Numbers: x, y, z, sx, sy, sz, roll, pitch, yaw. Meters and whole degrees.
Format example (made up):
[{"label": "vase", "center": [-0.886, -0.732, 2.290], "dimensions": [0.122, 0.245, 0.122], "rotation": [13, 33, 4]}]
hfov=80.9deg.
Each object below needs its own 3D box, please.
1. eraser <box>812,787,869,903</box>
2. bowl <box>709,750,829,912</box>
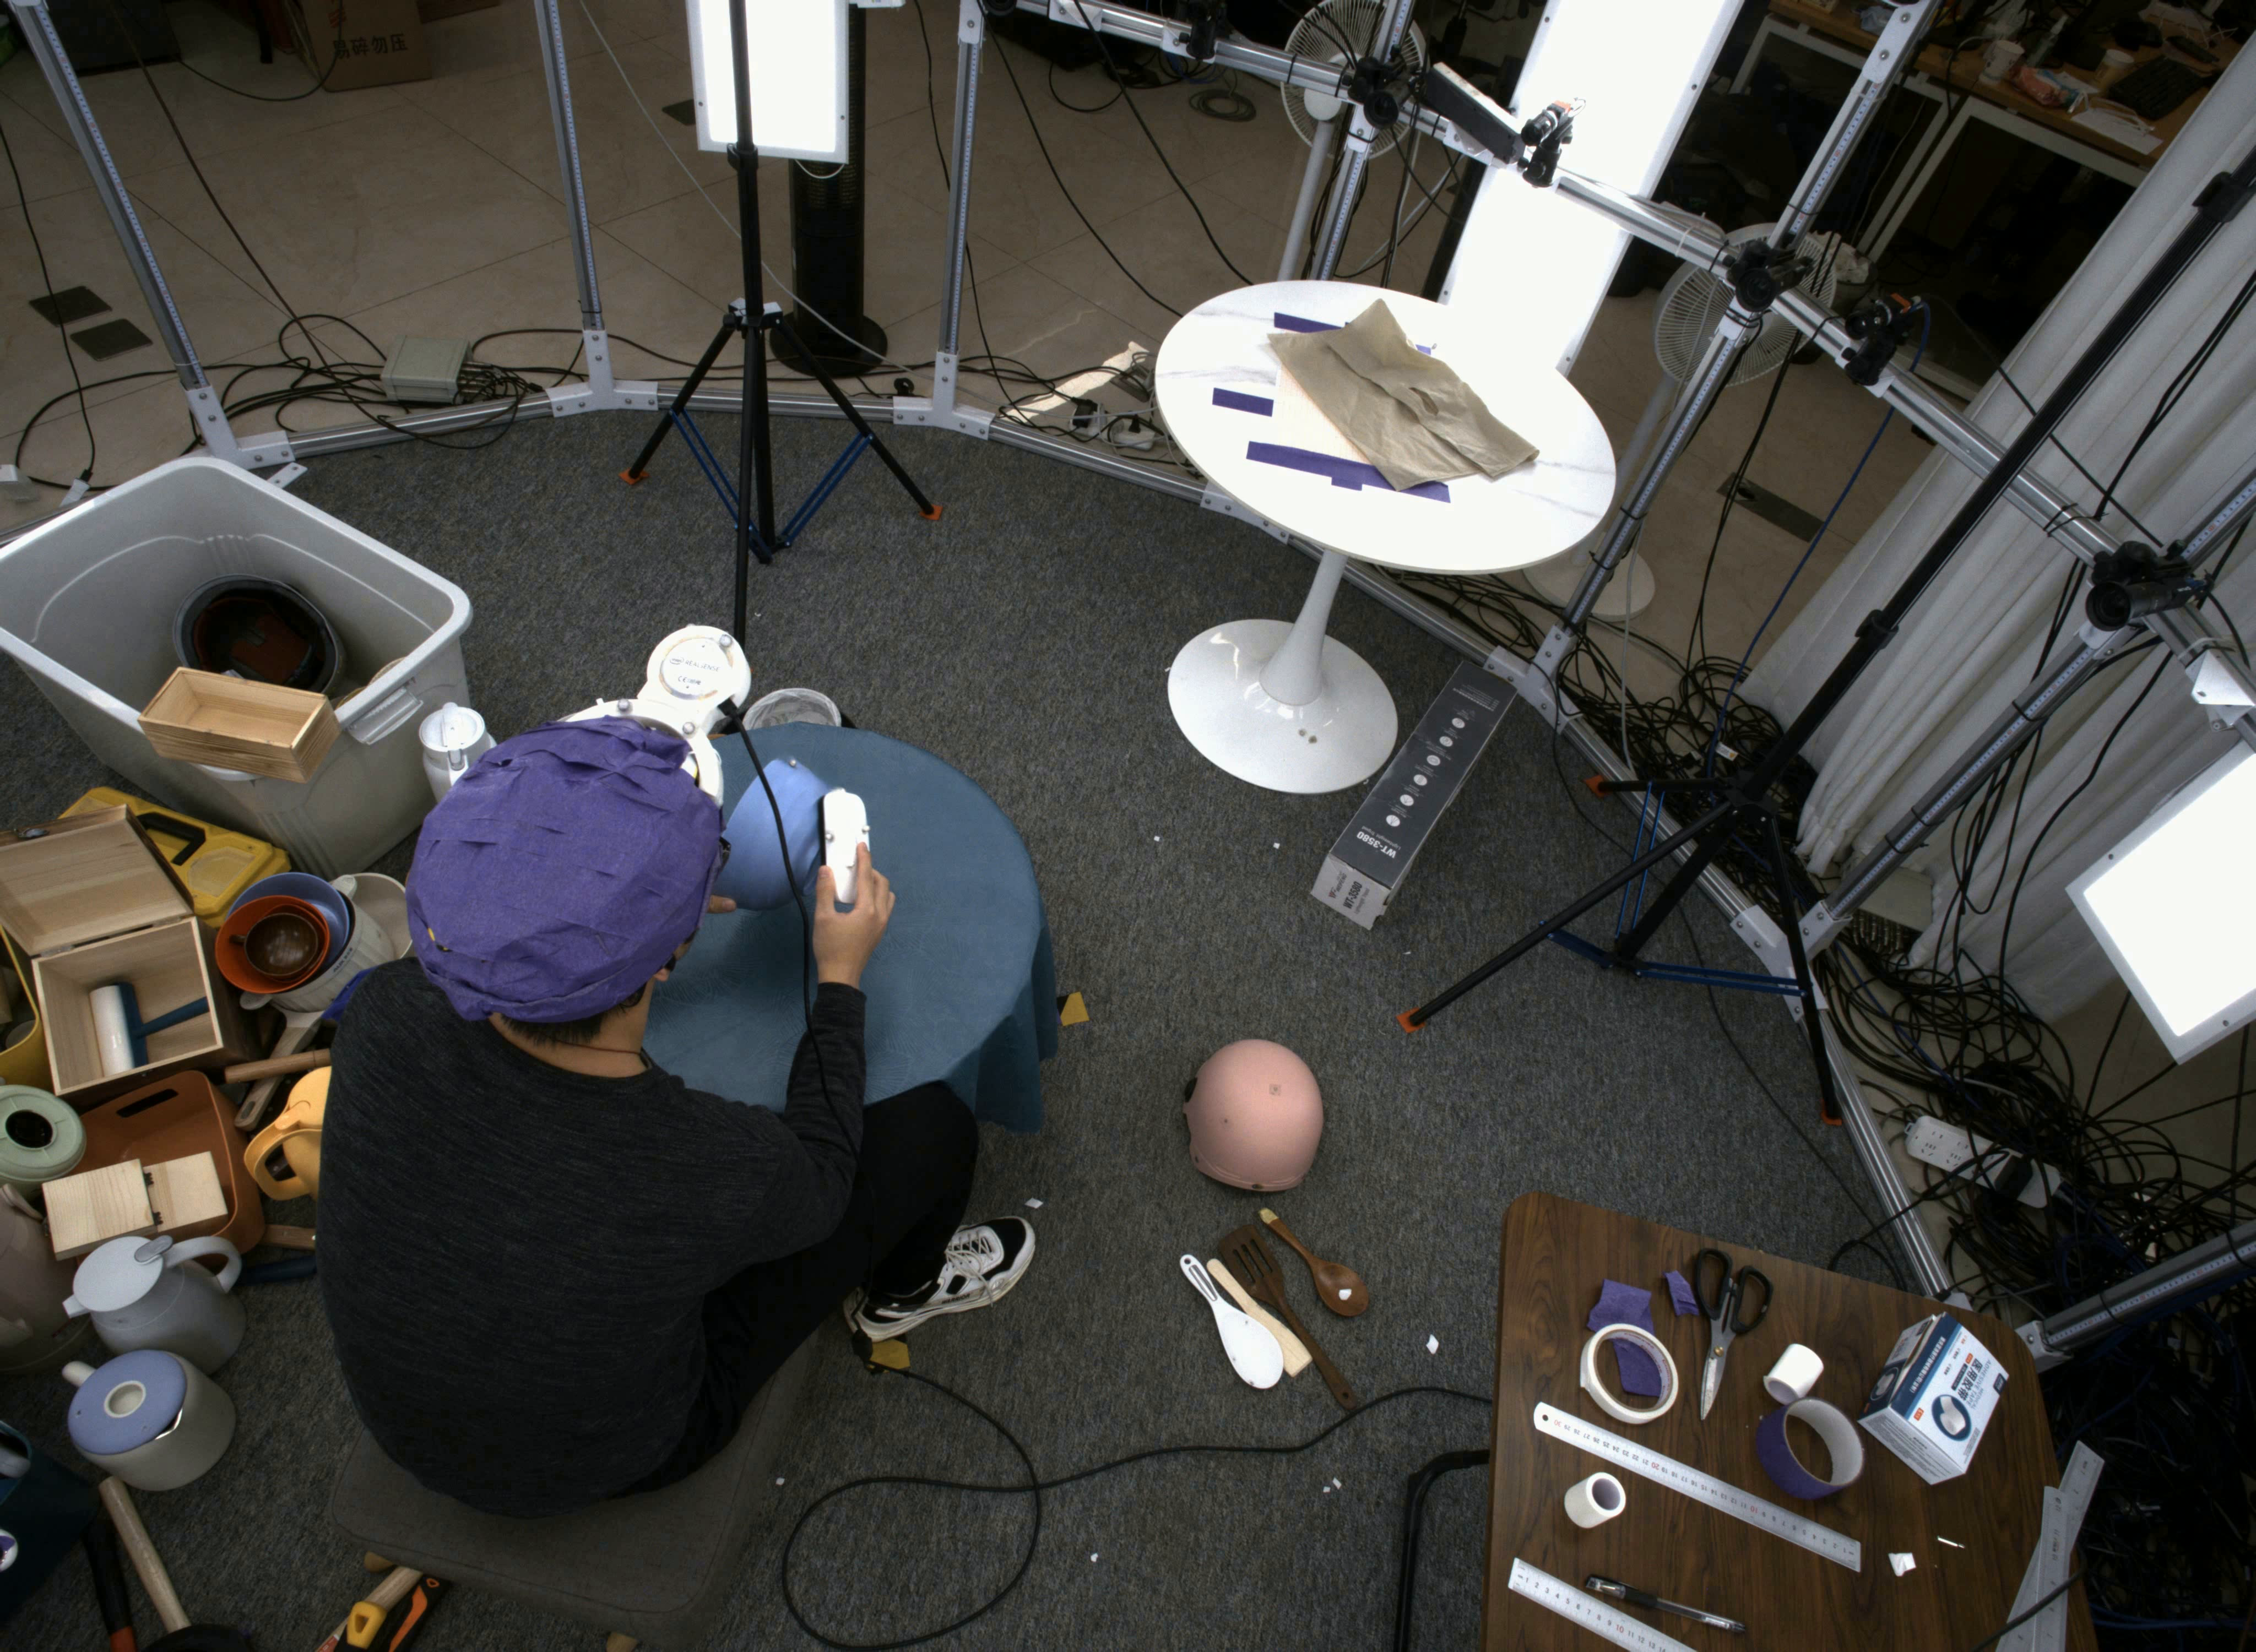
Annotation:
[{"label": "eraser", "center": [-0.331, 0.022, 1.495], "dimensions": [0.034, 0.065, 0.132], "rotation": [-11, 81, 25]}, {"label": "bowl", "center": [-0.402, 0.019, 1.526], "dimensions": [0.095, 0.200, 0.195], "rotation": [24, 51, 2]}]
